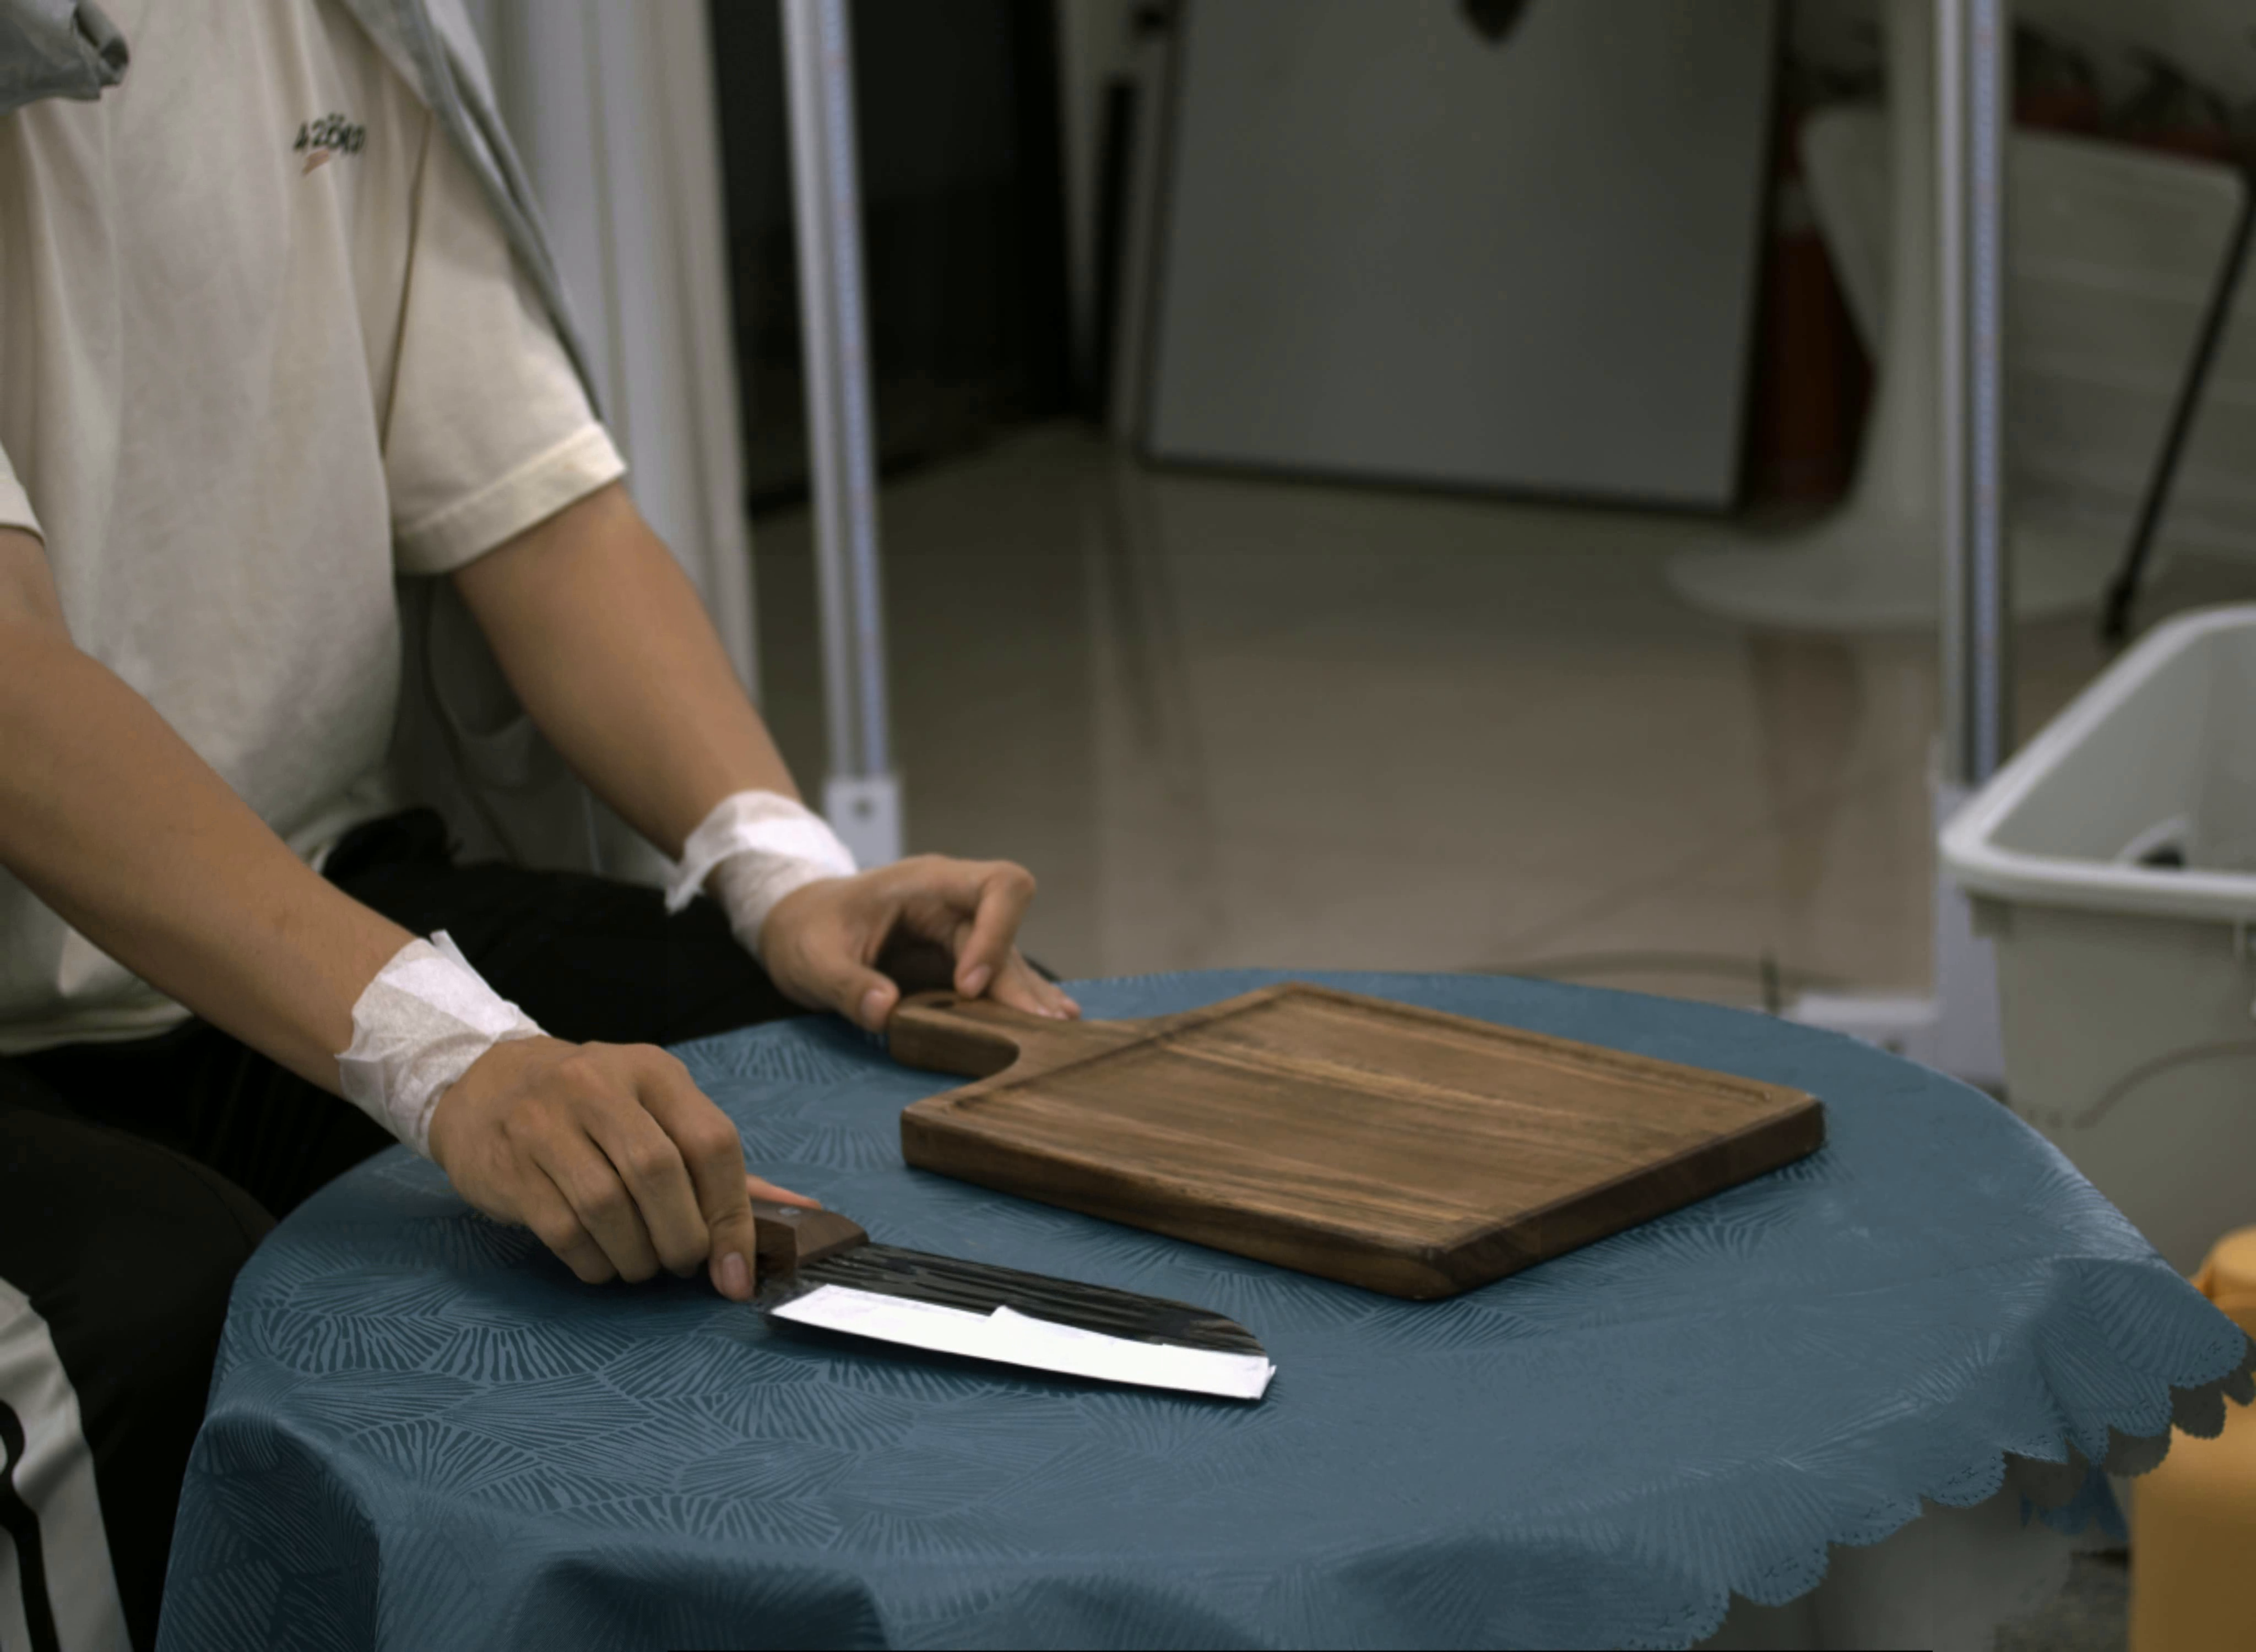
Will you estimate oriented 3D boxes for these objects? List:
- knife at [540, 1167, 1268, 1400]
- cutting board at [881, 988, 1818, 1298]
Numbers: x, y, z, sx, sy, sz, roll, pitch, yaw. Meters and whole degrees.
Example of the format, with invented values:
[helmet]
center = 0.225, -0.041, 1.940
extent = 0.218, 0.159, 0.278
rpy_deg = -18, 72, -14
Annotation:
[knife]
center = -0.077, 0.143, 1.664
extent = 0.301, 0.024, 0.067
rpy_deg = 8, 18, 33
[cutting board]
center = 0.041, 0.095, 1.826
extent = 0.197, 0.023, 0.355
rpy_deg = -16, 18, -41
